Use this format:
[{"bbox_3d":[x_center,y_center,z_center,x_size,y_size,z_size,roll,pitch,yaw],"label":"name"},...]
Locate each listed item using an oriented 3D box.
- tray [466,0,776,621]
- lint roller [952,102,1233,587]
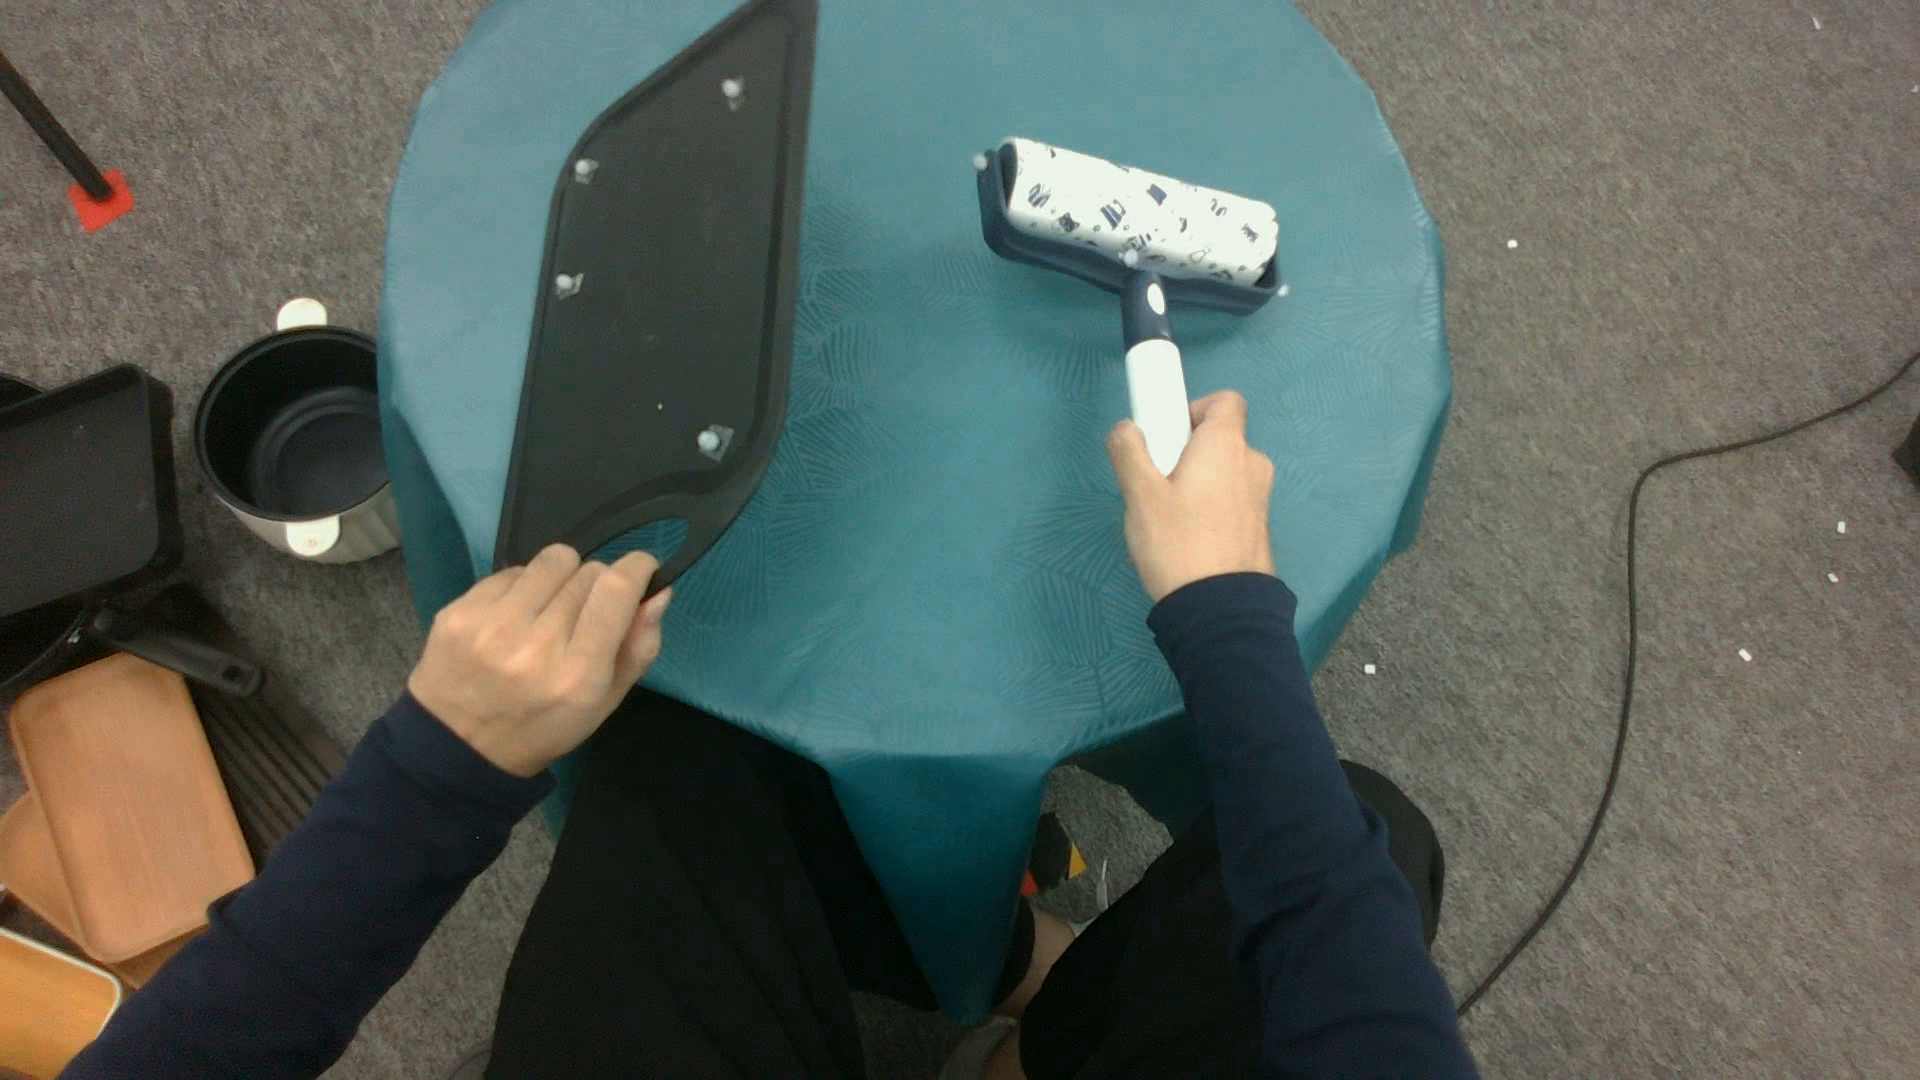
[{"bbox_3d":[-0.162,-0.120,0.645,0.010,0.210,0.326,26,53,-43],"label":"tray"},{"bbox_3d":[0.083,-0.094,0.694,0.176,0.050,0.248,12,58,-34],"label":"lint roller"}]
